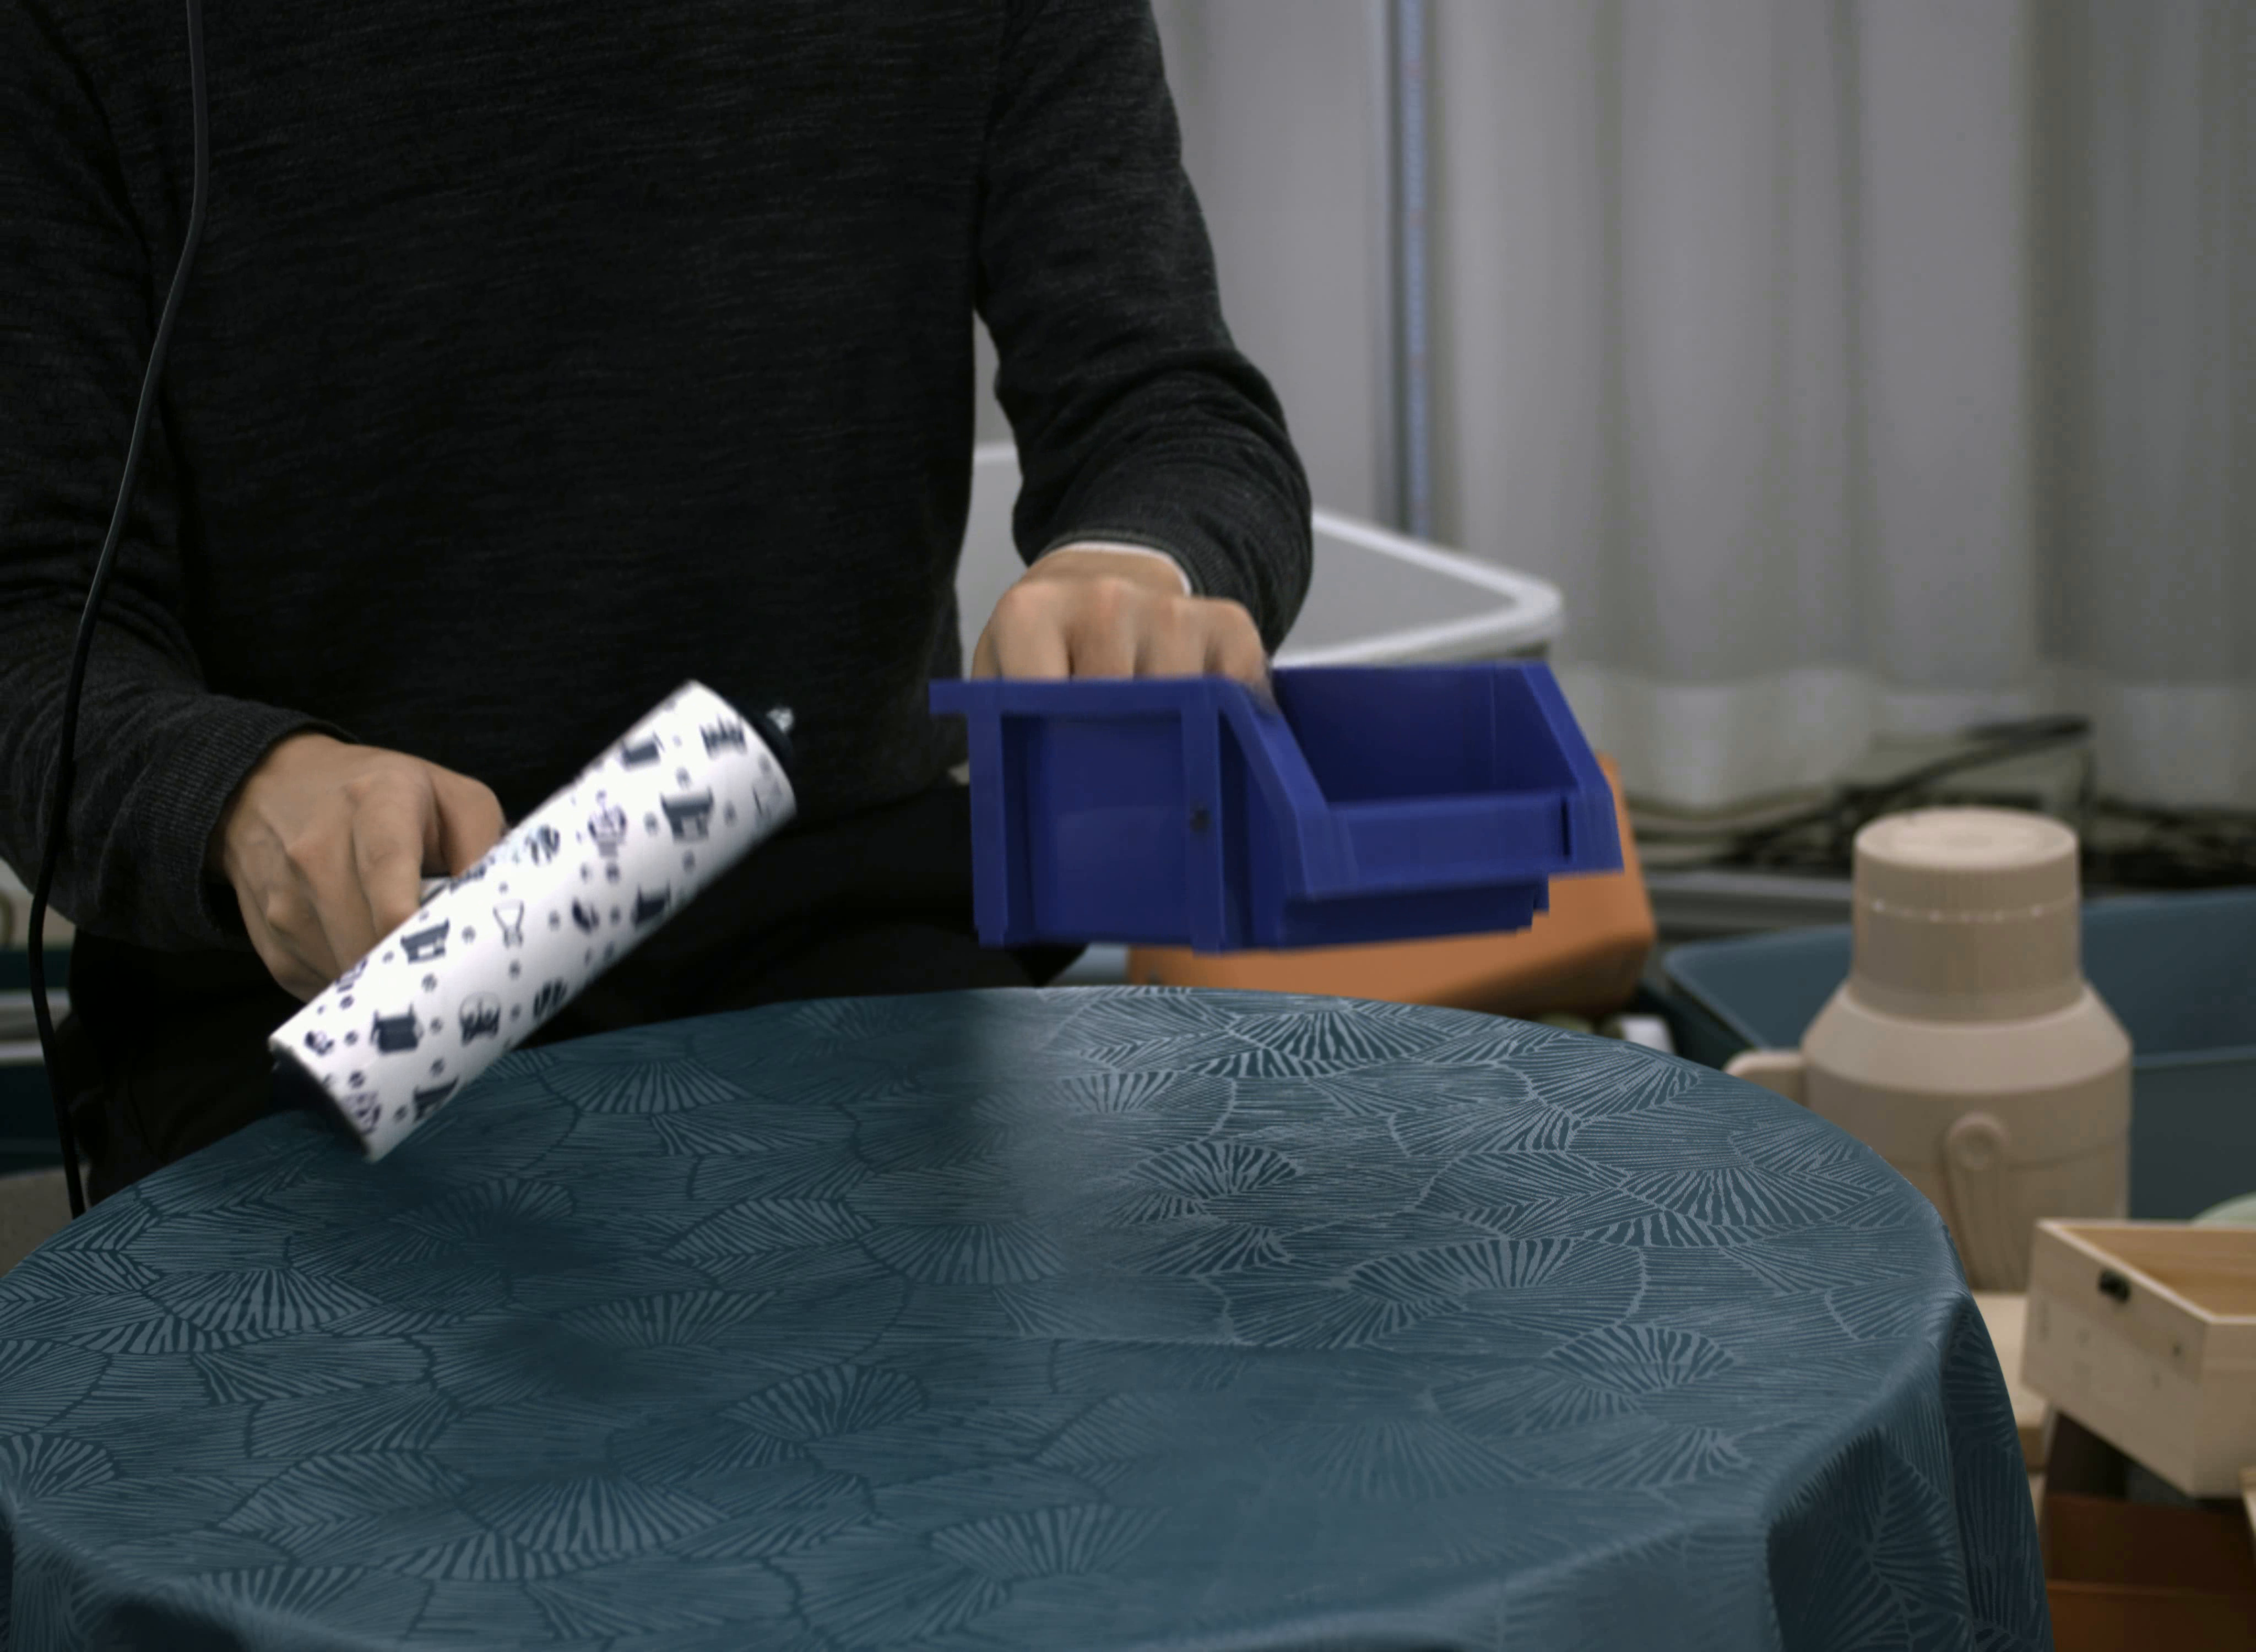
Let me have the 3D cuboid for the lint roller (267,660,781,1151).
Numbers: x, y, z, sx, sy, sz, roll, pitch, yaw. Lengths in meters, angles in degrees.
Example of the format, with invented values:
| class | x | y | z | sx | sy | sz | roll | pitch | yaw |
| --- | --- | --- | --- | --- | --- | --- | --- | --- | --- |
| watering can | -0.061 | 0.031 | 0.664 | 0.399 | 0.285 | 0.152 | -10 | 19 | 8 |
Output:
| class | x | y | z | sx | sy | sz | roll | pitch | yaw |
| --- | --- | --- | --- | --- | --- | --- | --- | --- | --- |
| lint roller | -0.207 | 0.026 | 1.653 | 0.177 | 0.050 | 0.247 | -44 | 14 | -18 |

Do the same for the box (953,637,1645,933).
| class | x | y | z | sx | sy | sz | roll | pitch | yaw |
| --- | --- | --- | --- | --- | --- | --- | --- | --- | --- |
| box | 0.050 | -0.012 | 1.620 | 0.124 | 0.082 | 0.180 | -2 | -1 | -36 |
